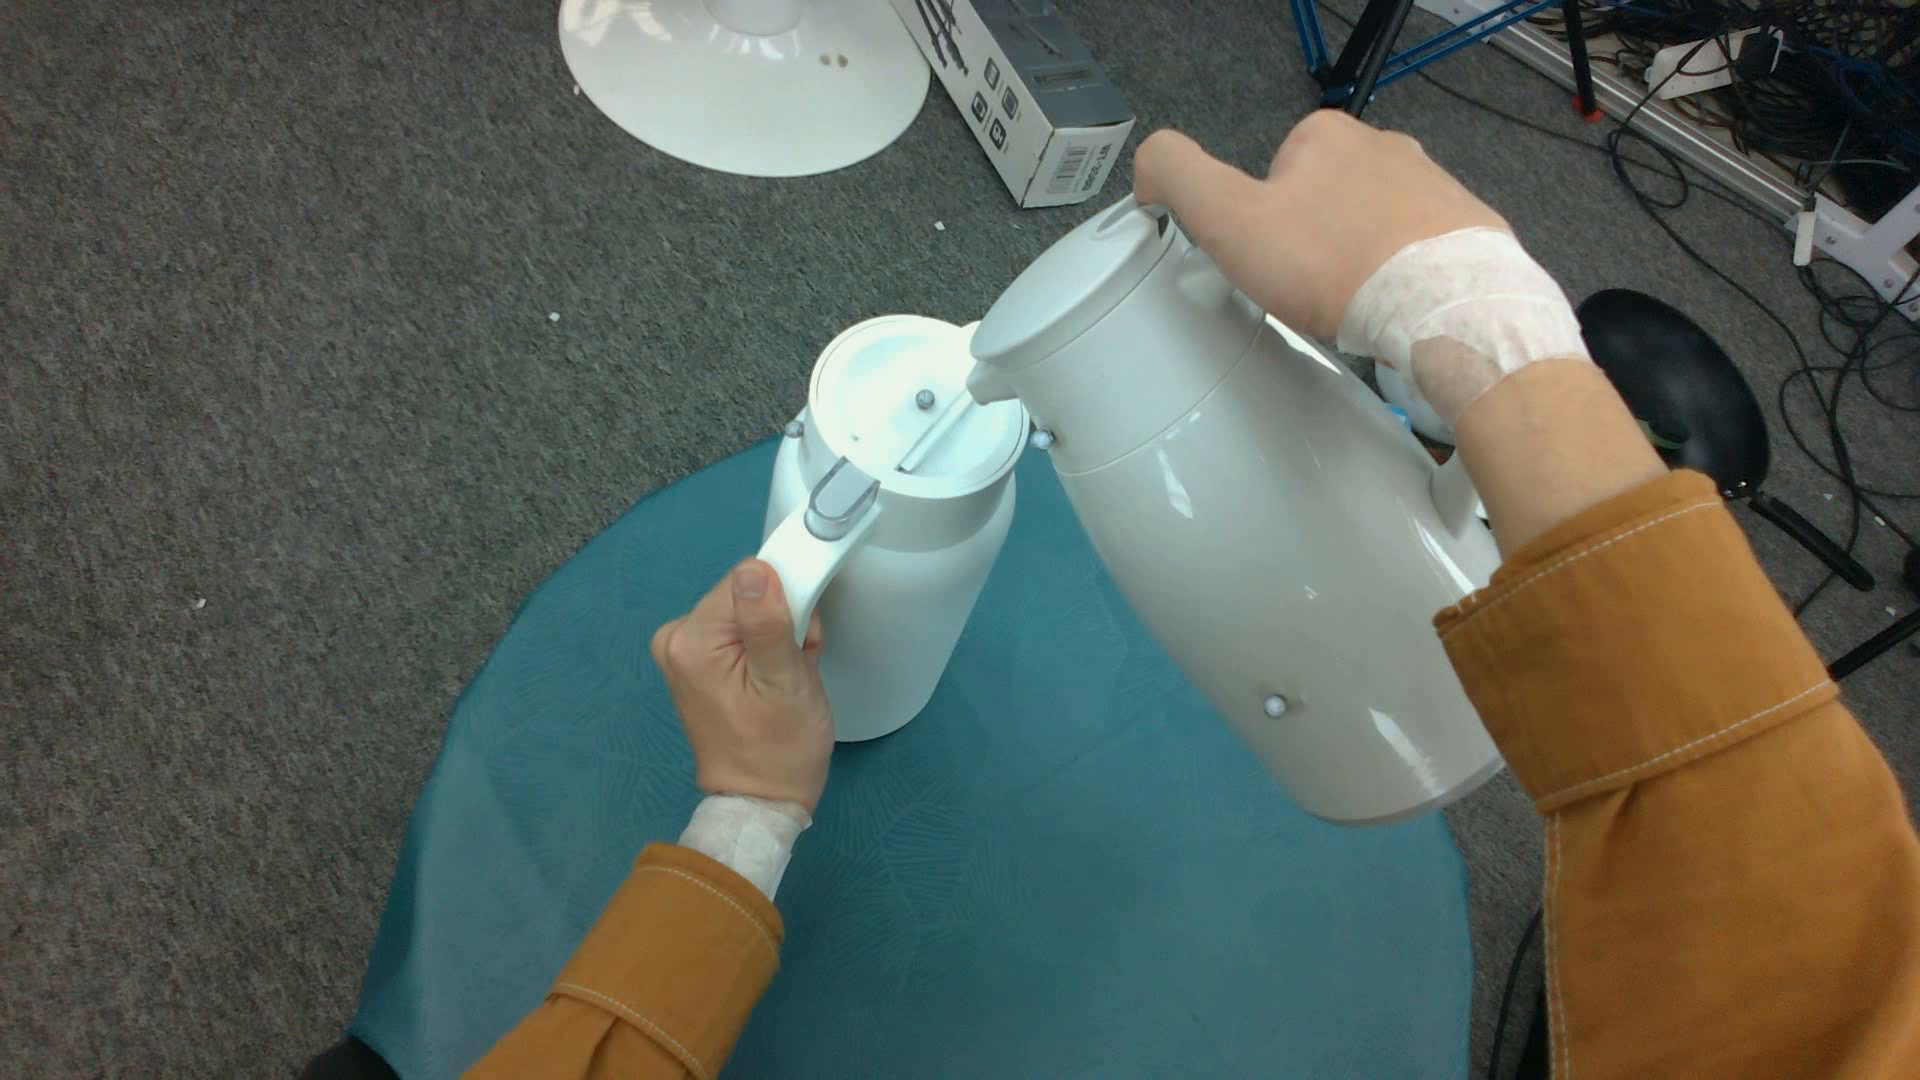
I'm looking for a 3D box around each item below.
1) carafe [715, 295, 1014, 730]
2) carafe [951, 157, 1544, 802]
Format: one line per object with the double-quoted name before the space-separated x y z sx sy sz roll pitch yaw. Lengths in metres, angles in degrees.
"carafe" -0.060 0.010 0.701 0.124 0.267 0.173 35 58 4
"carafe" 0.121 -0.032 0.537 0.248 0.167 0.133 48 40 -19
